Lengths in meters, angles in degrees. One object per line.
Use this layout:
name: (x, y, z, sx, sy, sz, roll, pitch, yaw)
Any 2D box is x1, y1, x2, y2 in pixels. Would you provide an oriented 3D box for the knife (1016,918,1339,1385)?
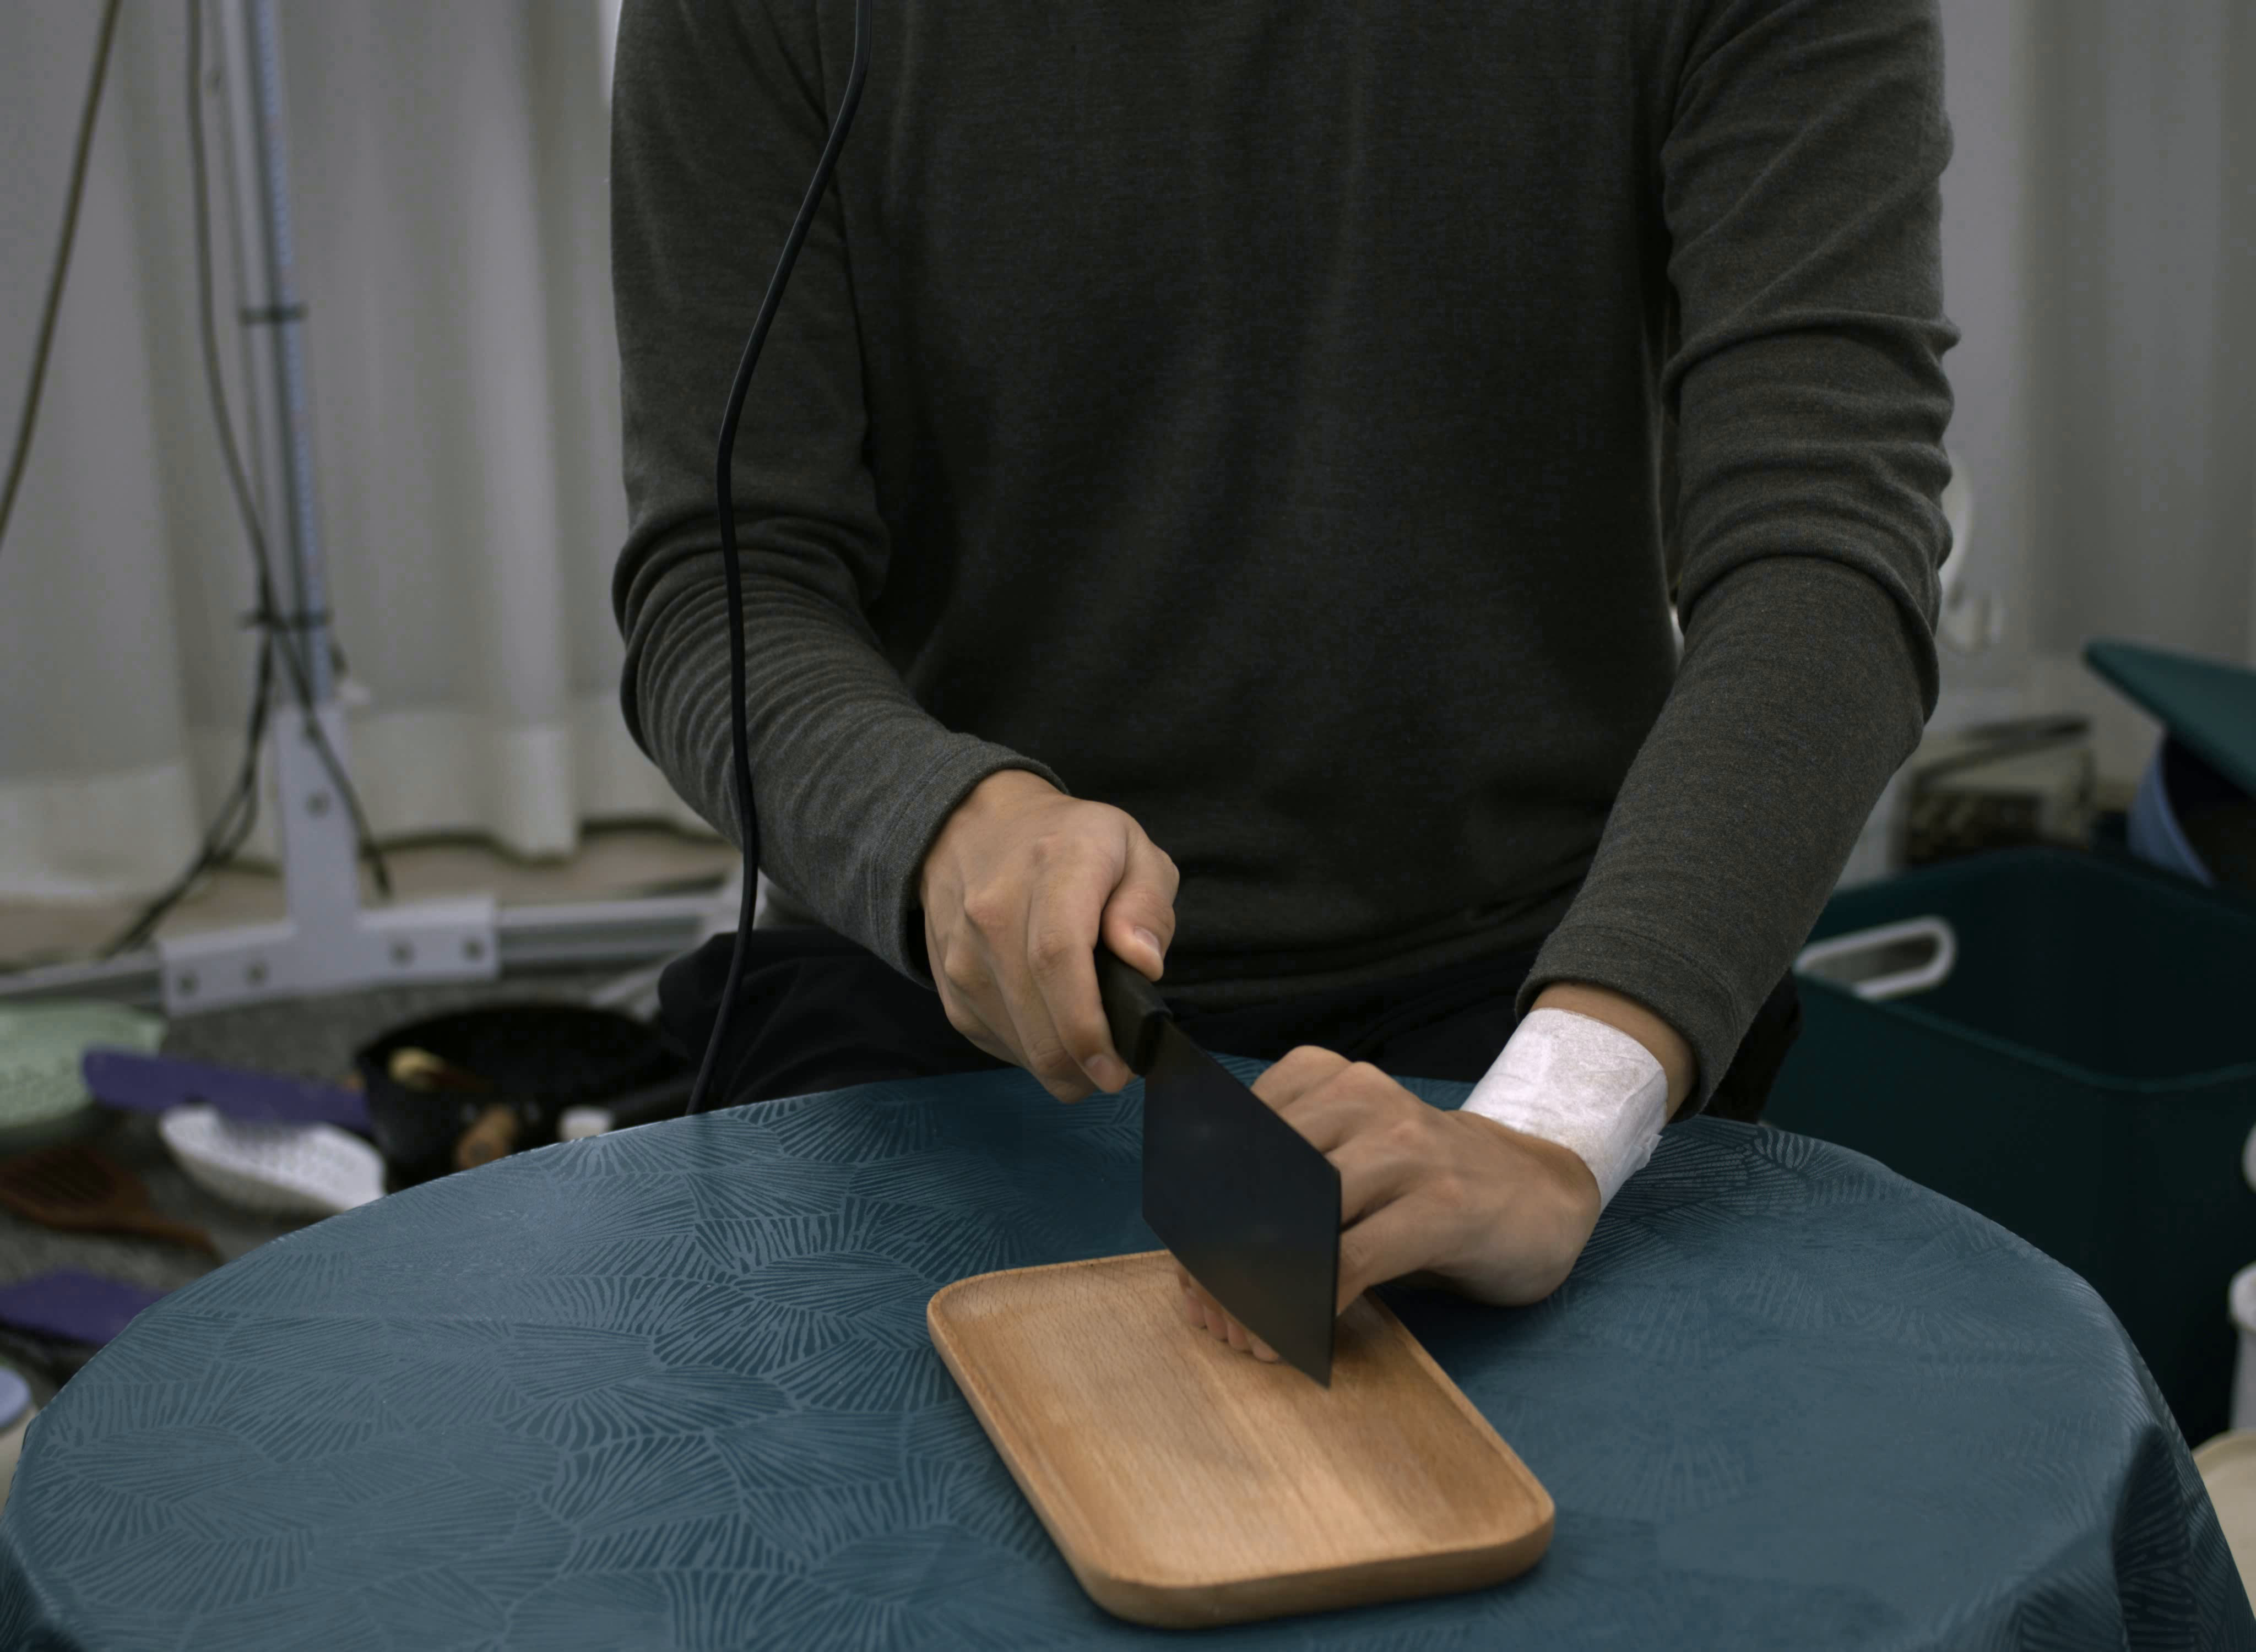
knife: (0.013, 0.085, 1.565, 0.021, 0.080, 0.305, 0, 16, -16)

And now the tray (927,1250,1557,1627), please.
tray: (0.026, 0.164, 1.498, 0.130, 0.023, 0.252, -3, 13, -12)
